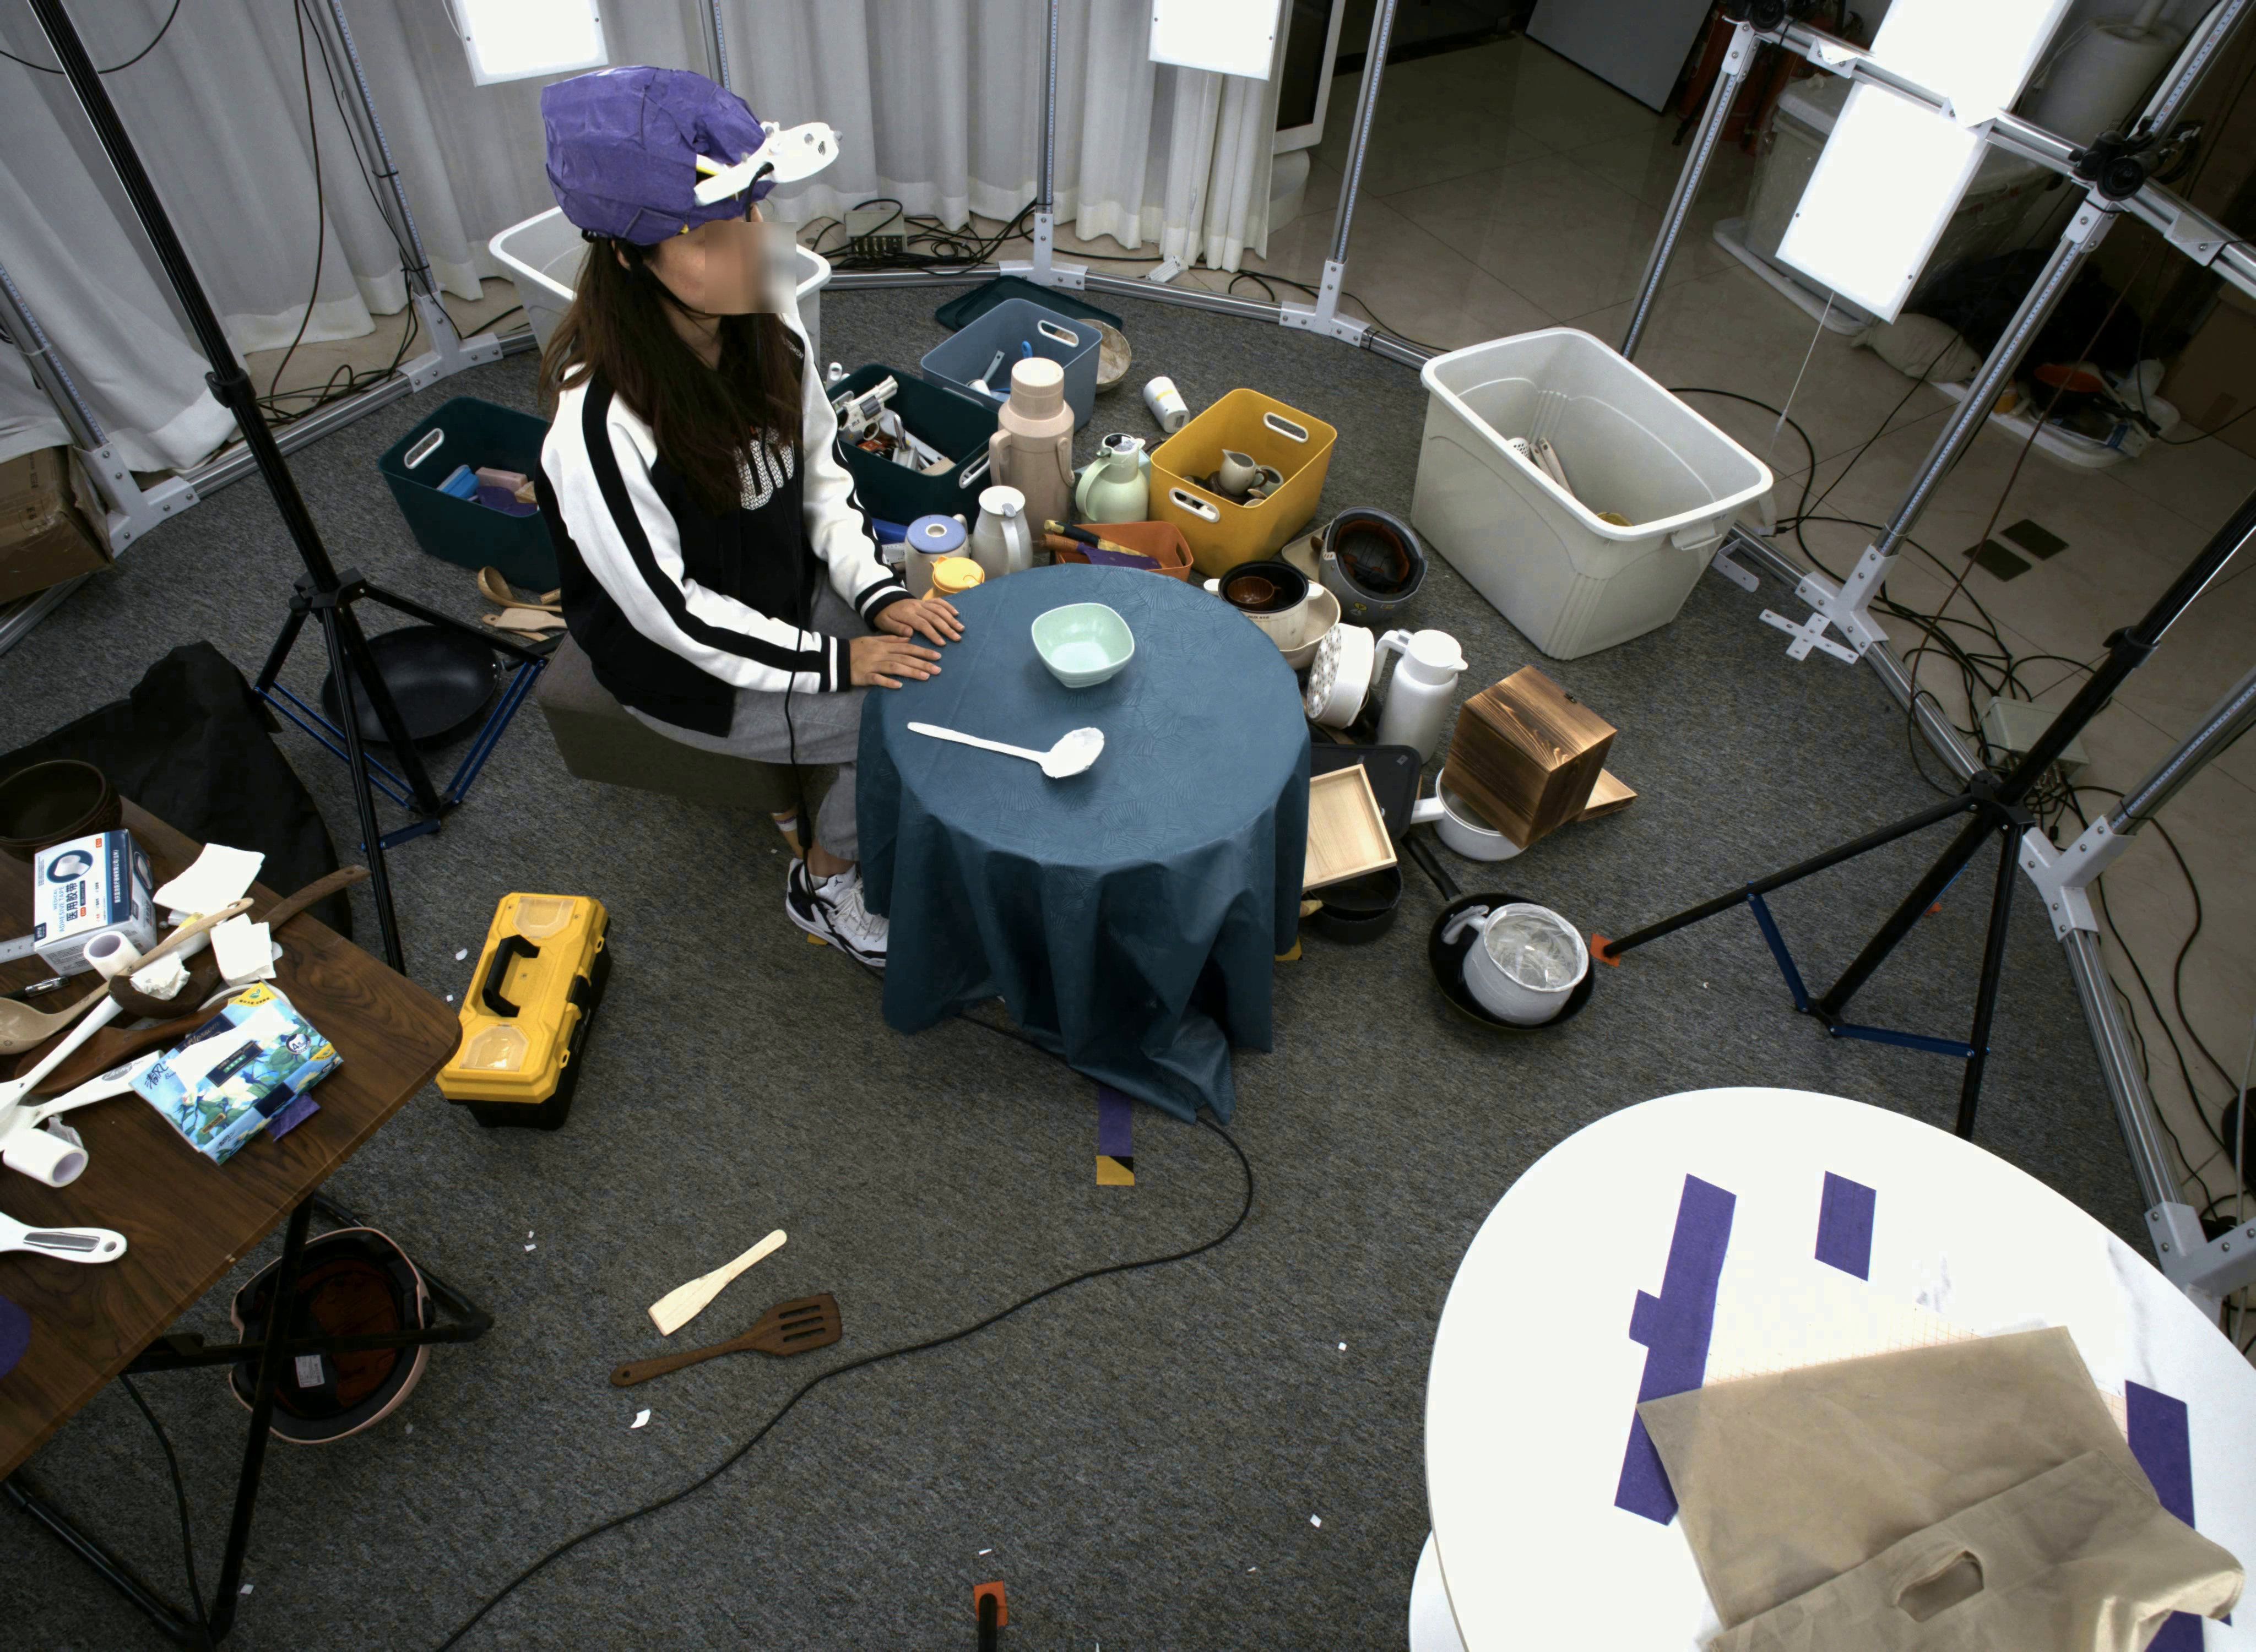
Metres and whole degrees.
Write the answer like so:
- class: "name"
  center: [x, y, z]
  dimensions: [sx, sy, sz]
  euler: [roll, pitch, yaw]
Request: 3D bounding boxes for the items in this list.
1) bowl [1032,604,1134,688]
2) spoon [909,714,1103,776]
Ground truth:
- class: "bowl"
  center: [-0.066, -0.250, 1.848]
  dimensions: [0.151, 0.057, 0.155]
  euler: [2, 49, -3]
- class: "spoon"
  center: [-0.167, -0.130, 1.735]
  dimensions: [0.278, 0.058, 0.103]
  euler: [17, 46, 11]
